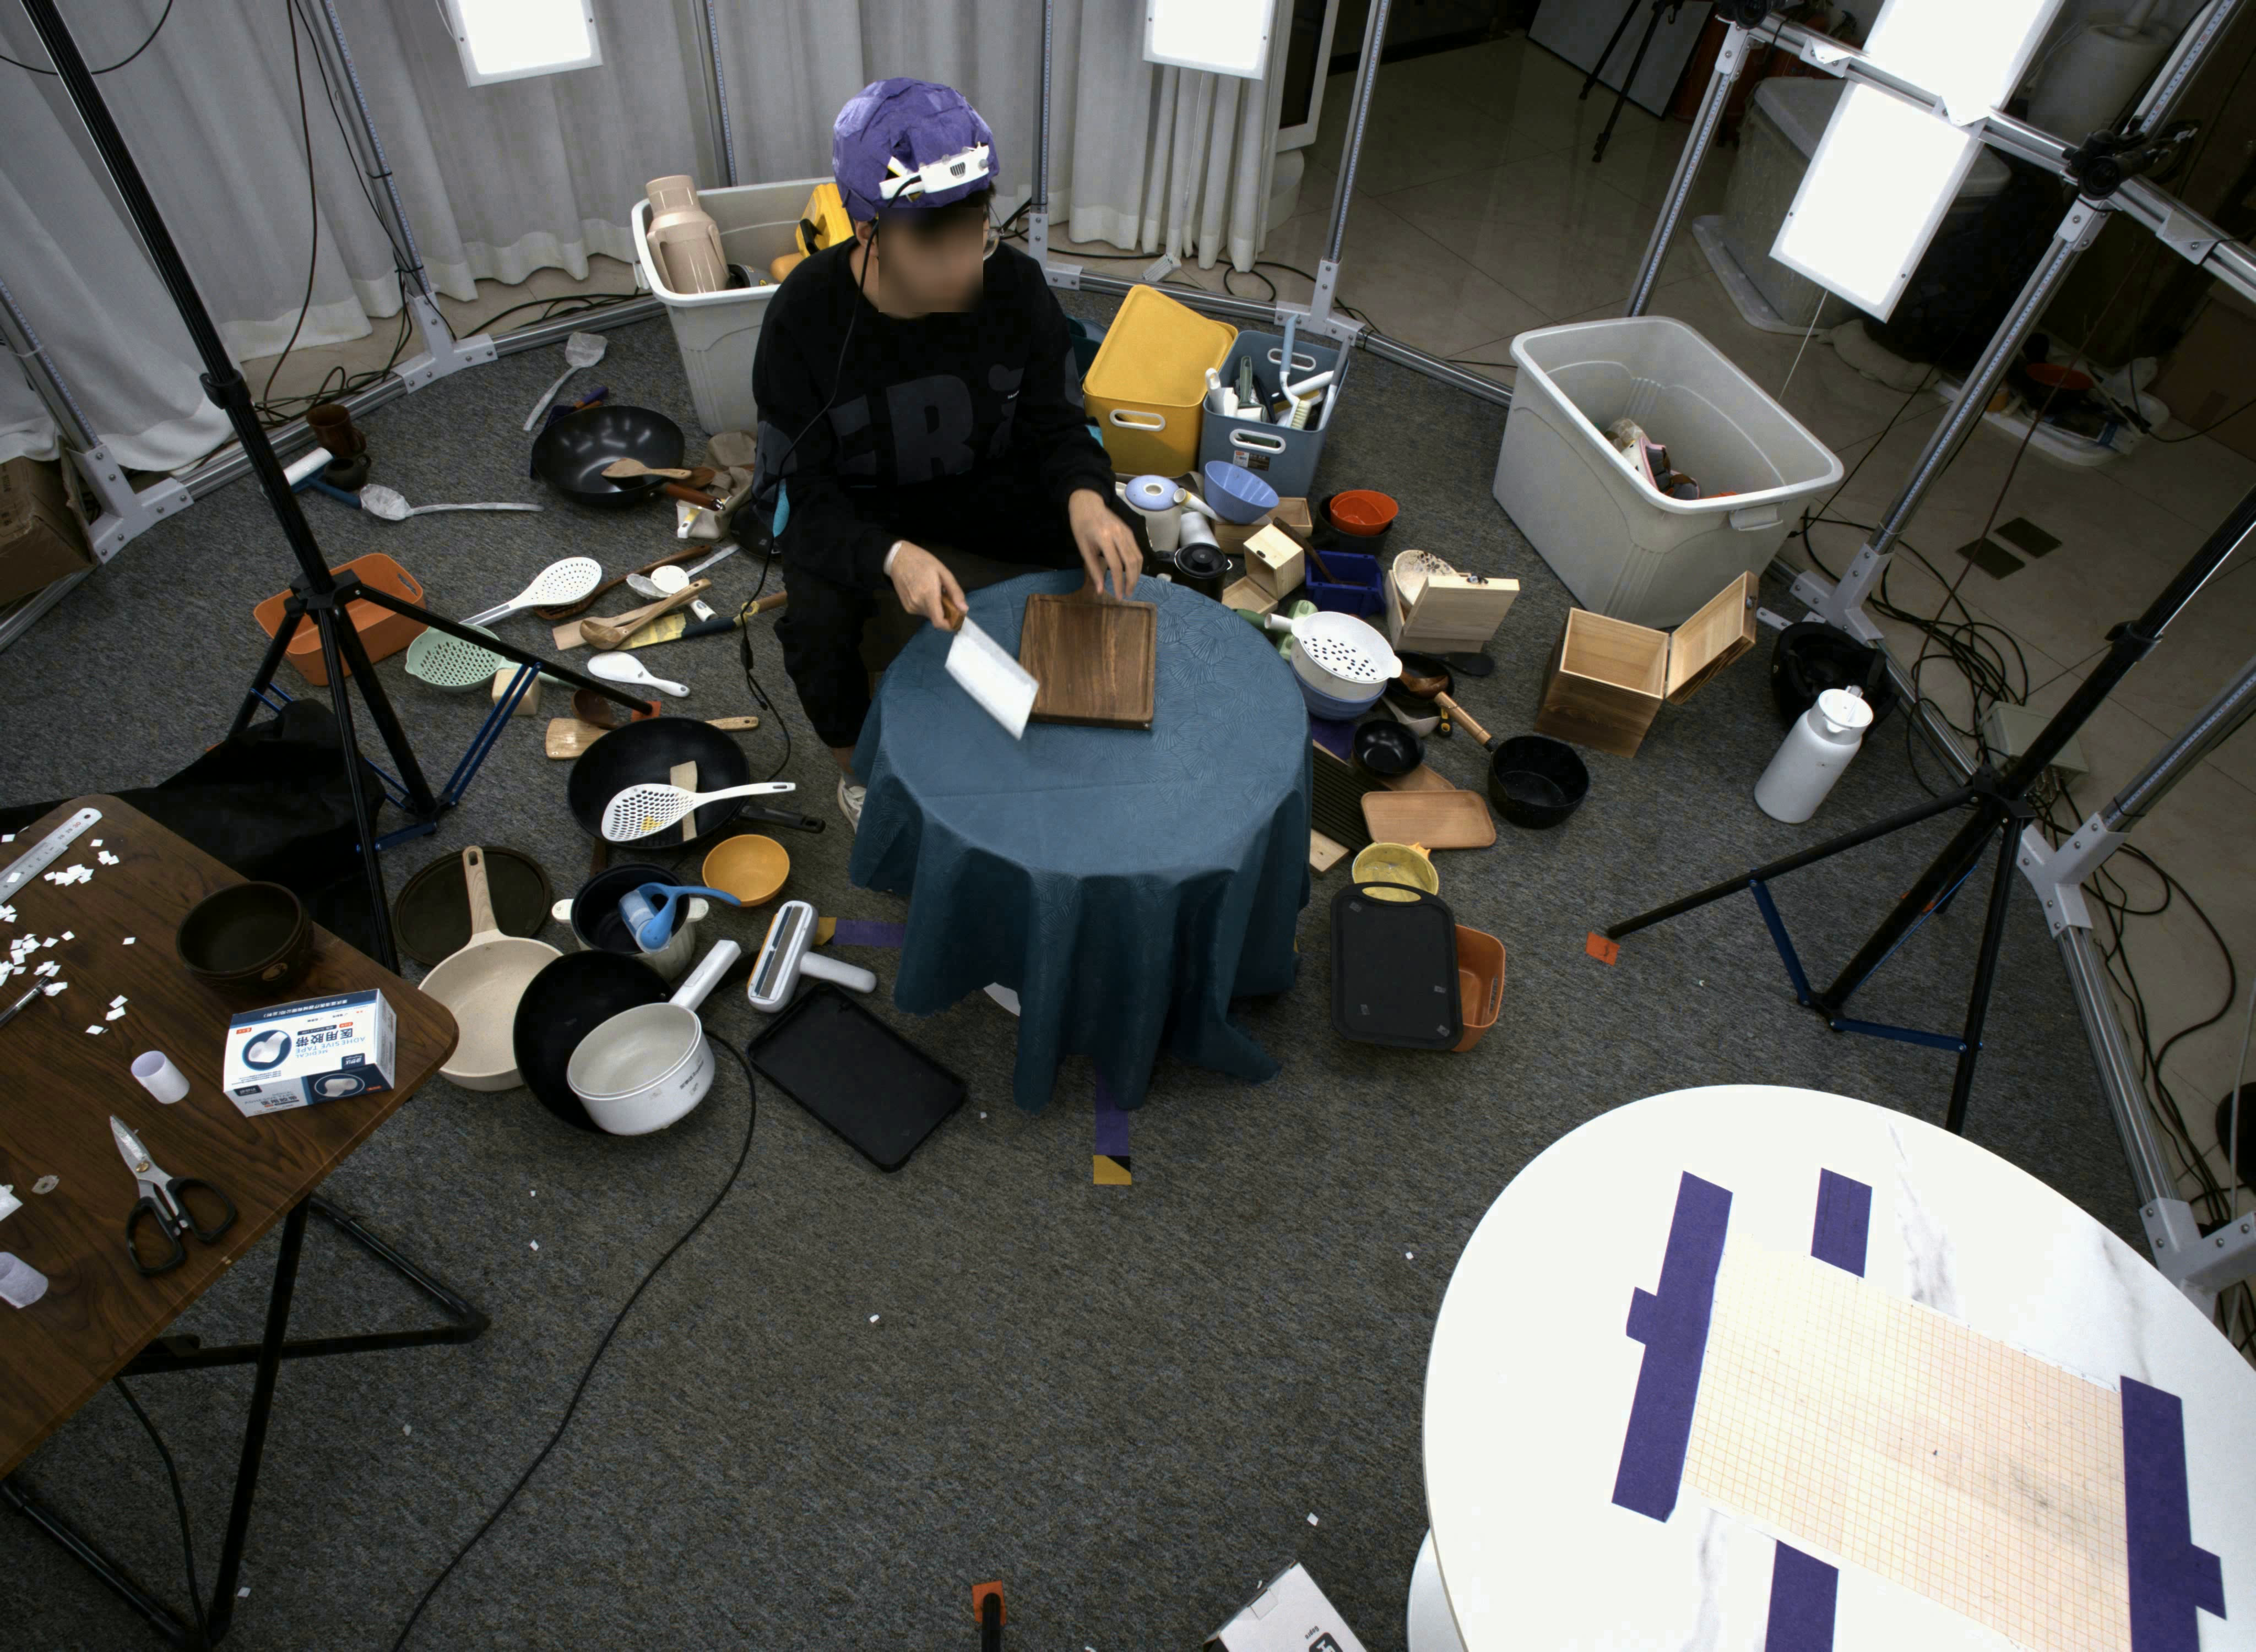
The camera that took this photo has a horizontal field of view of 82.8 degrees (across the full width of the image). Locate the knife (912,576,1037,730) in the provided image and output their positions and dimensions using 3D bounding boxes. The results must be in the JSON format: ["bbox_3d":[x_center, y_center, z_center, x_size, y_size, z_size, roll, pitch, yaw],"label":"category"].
[{"bbox_3d":[-0.219,-0.237,1.774,0.021,0.091,0.312,-6,40,-42],"label":"knife"}]

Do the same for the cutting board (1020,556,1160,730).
[{"bbox_3d":[-0.052,-0.279,1.893,0.201,0.022,0.361,4,49,-1],"label":"cutting board"}]
